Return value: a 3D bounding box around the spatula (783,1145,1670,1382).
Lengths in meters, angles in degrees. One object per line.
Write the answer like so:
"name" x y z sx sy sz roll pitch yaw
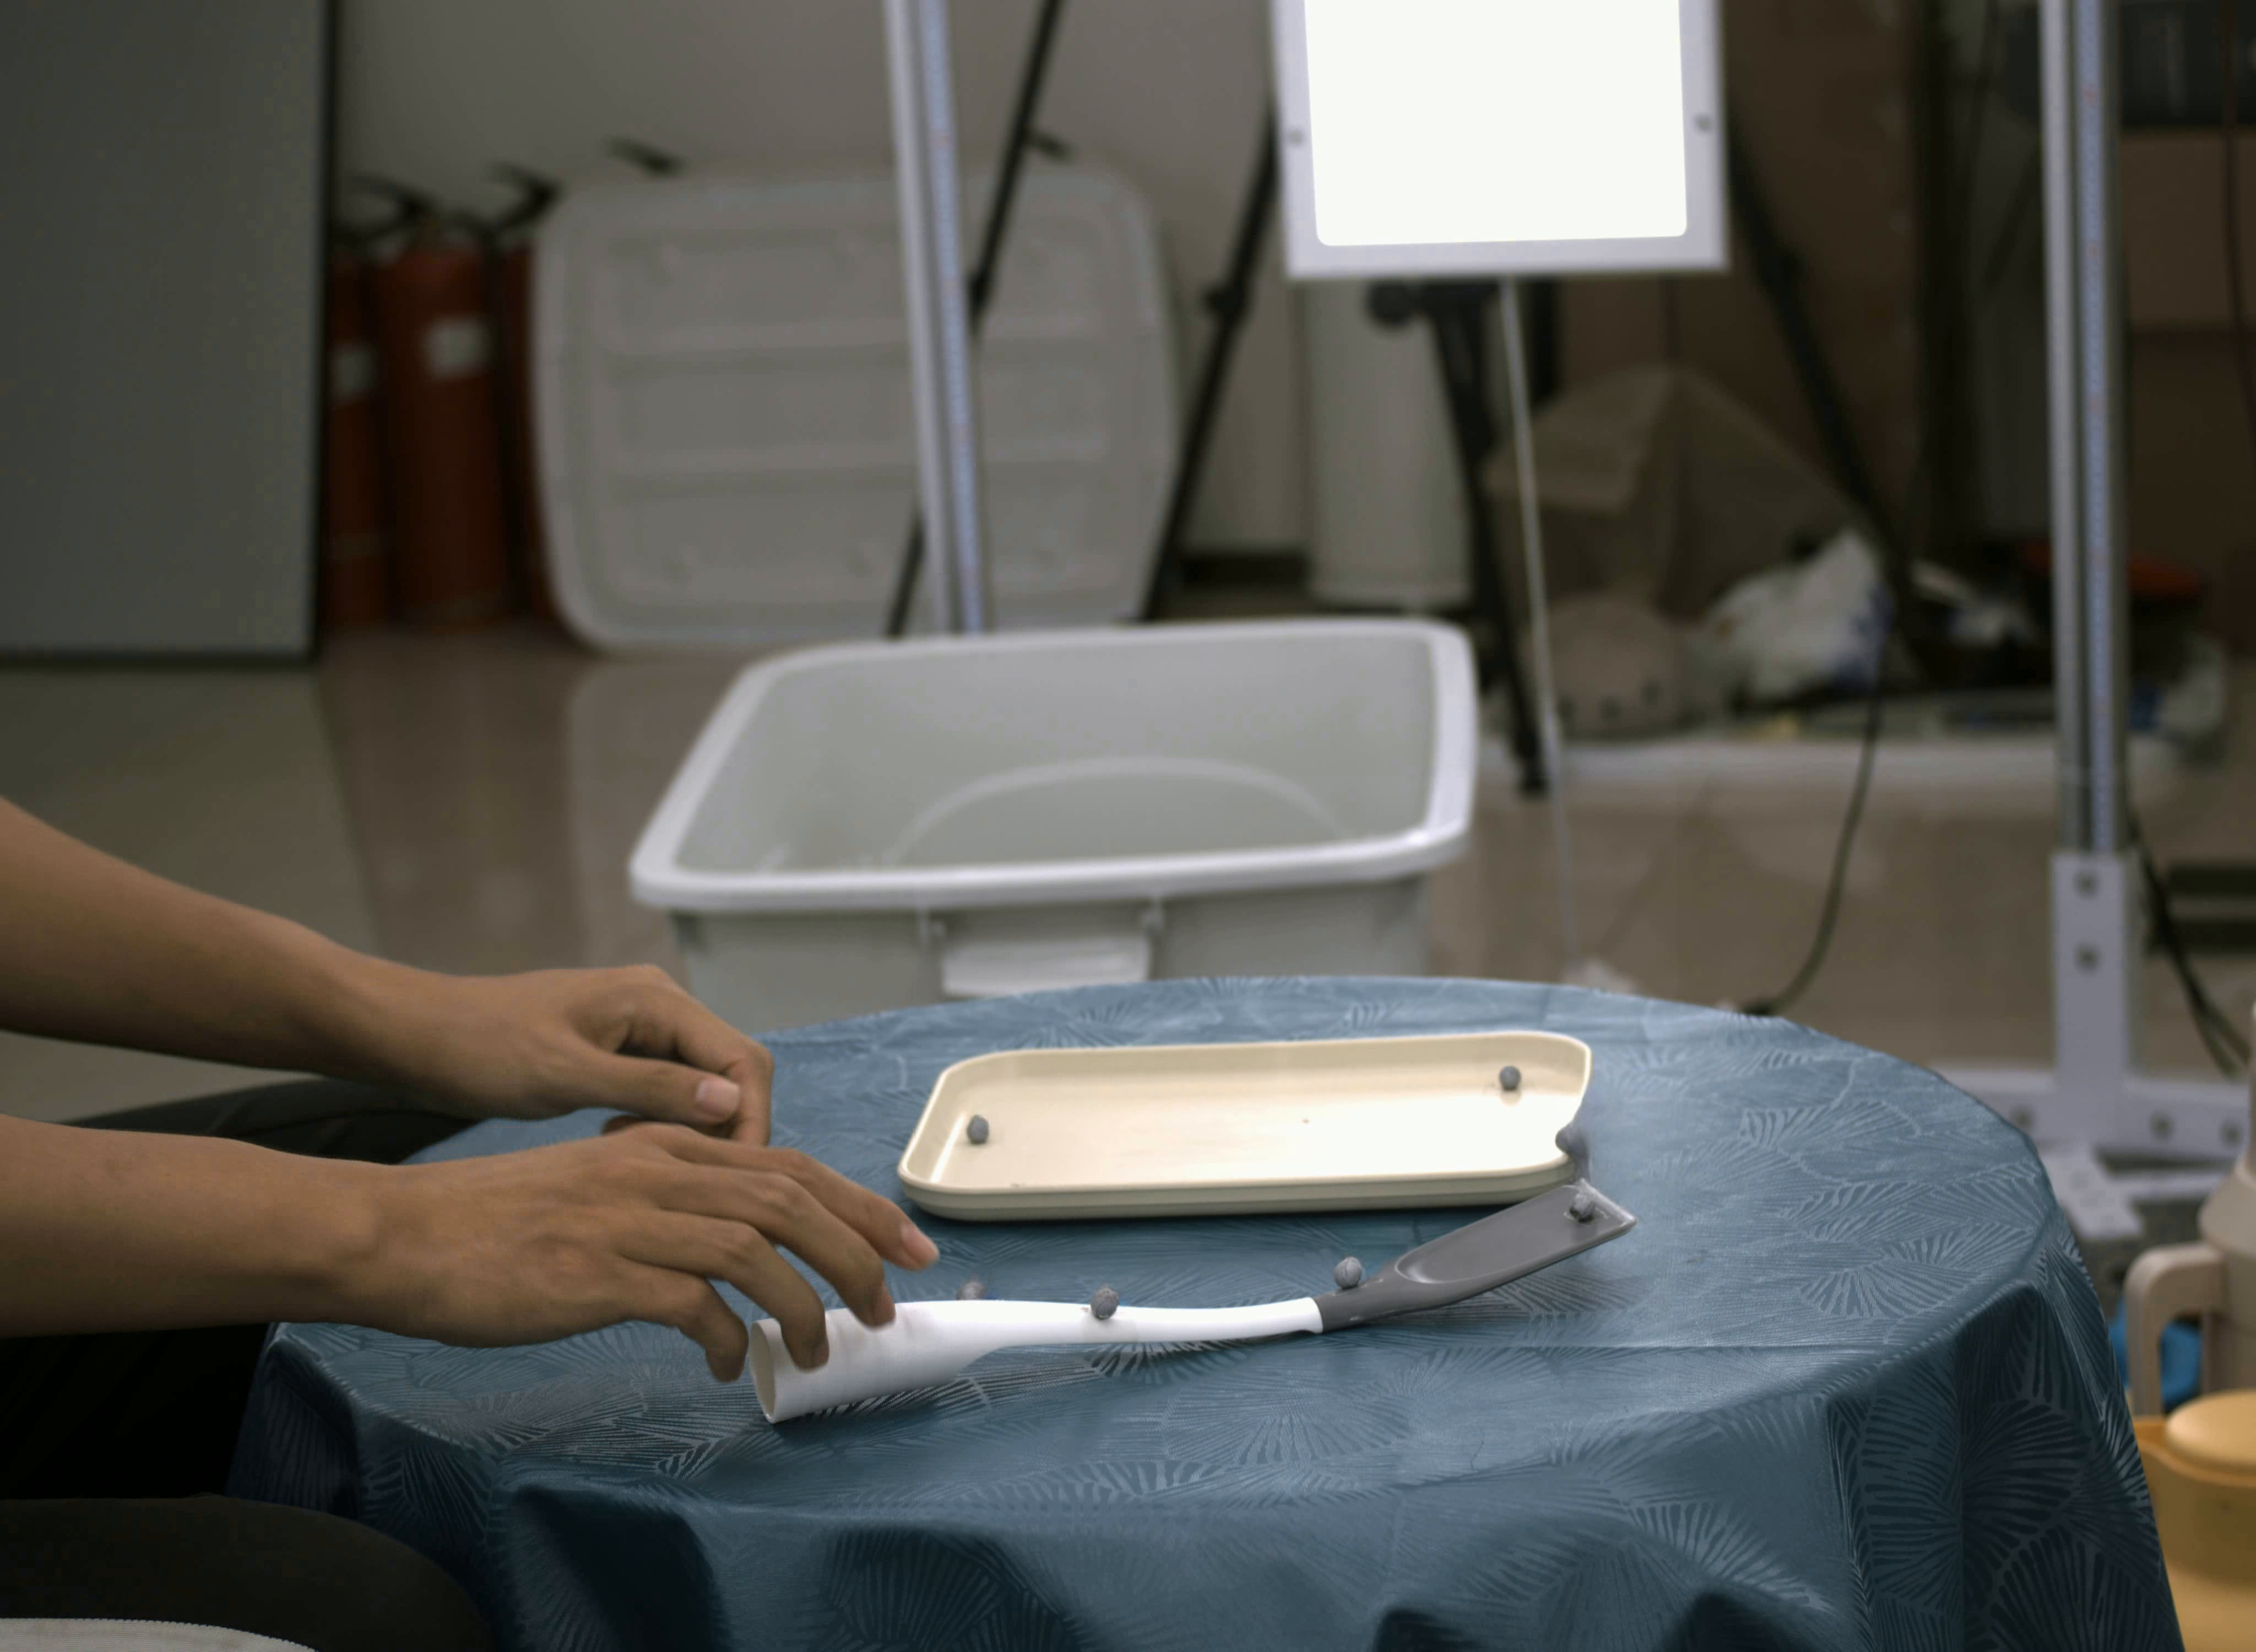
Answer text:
"spatula" 0.033 0.137 1.741 0.283 0.032 0.059 -8 10 -14

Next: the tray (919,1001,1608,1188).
"tray" 0.051 0.096 1.945 0.241 0.017 0.170 -3 13 8
